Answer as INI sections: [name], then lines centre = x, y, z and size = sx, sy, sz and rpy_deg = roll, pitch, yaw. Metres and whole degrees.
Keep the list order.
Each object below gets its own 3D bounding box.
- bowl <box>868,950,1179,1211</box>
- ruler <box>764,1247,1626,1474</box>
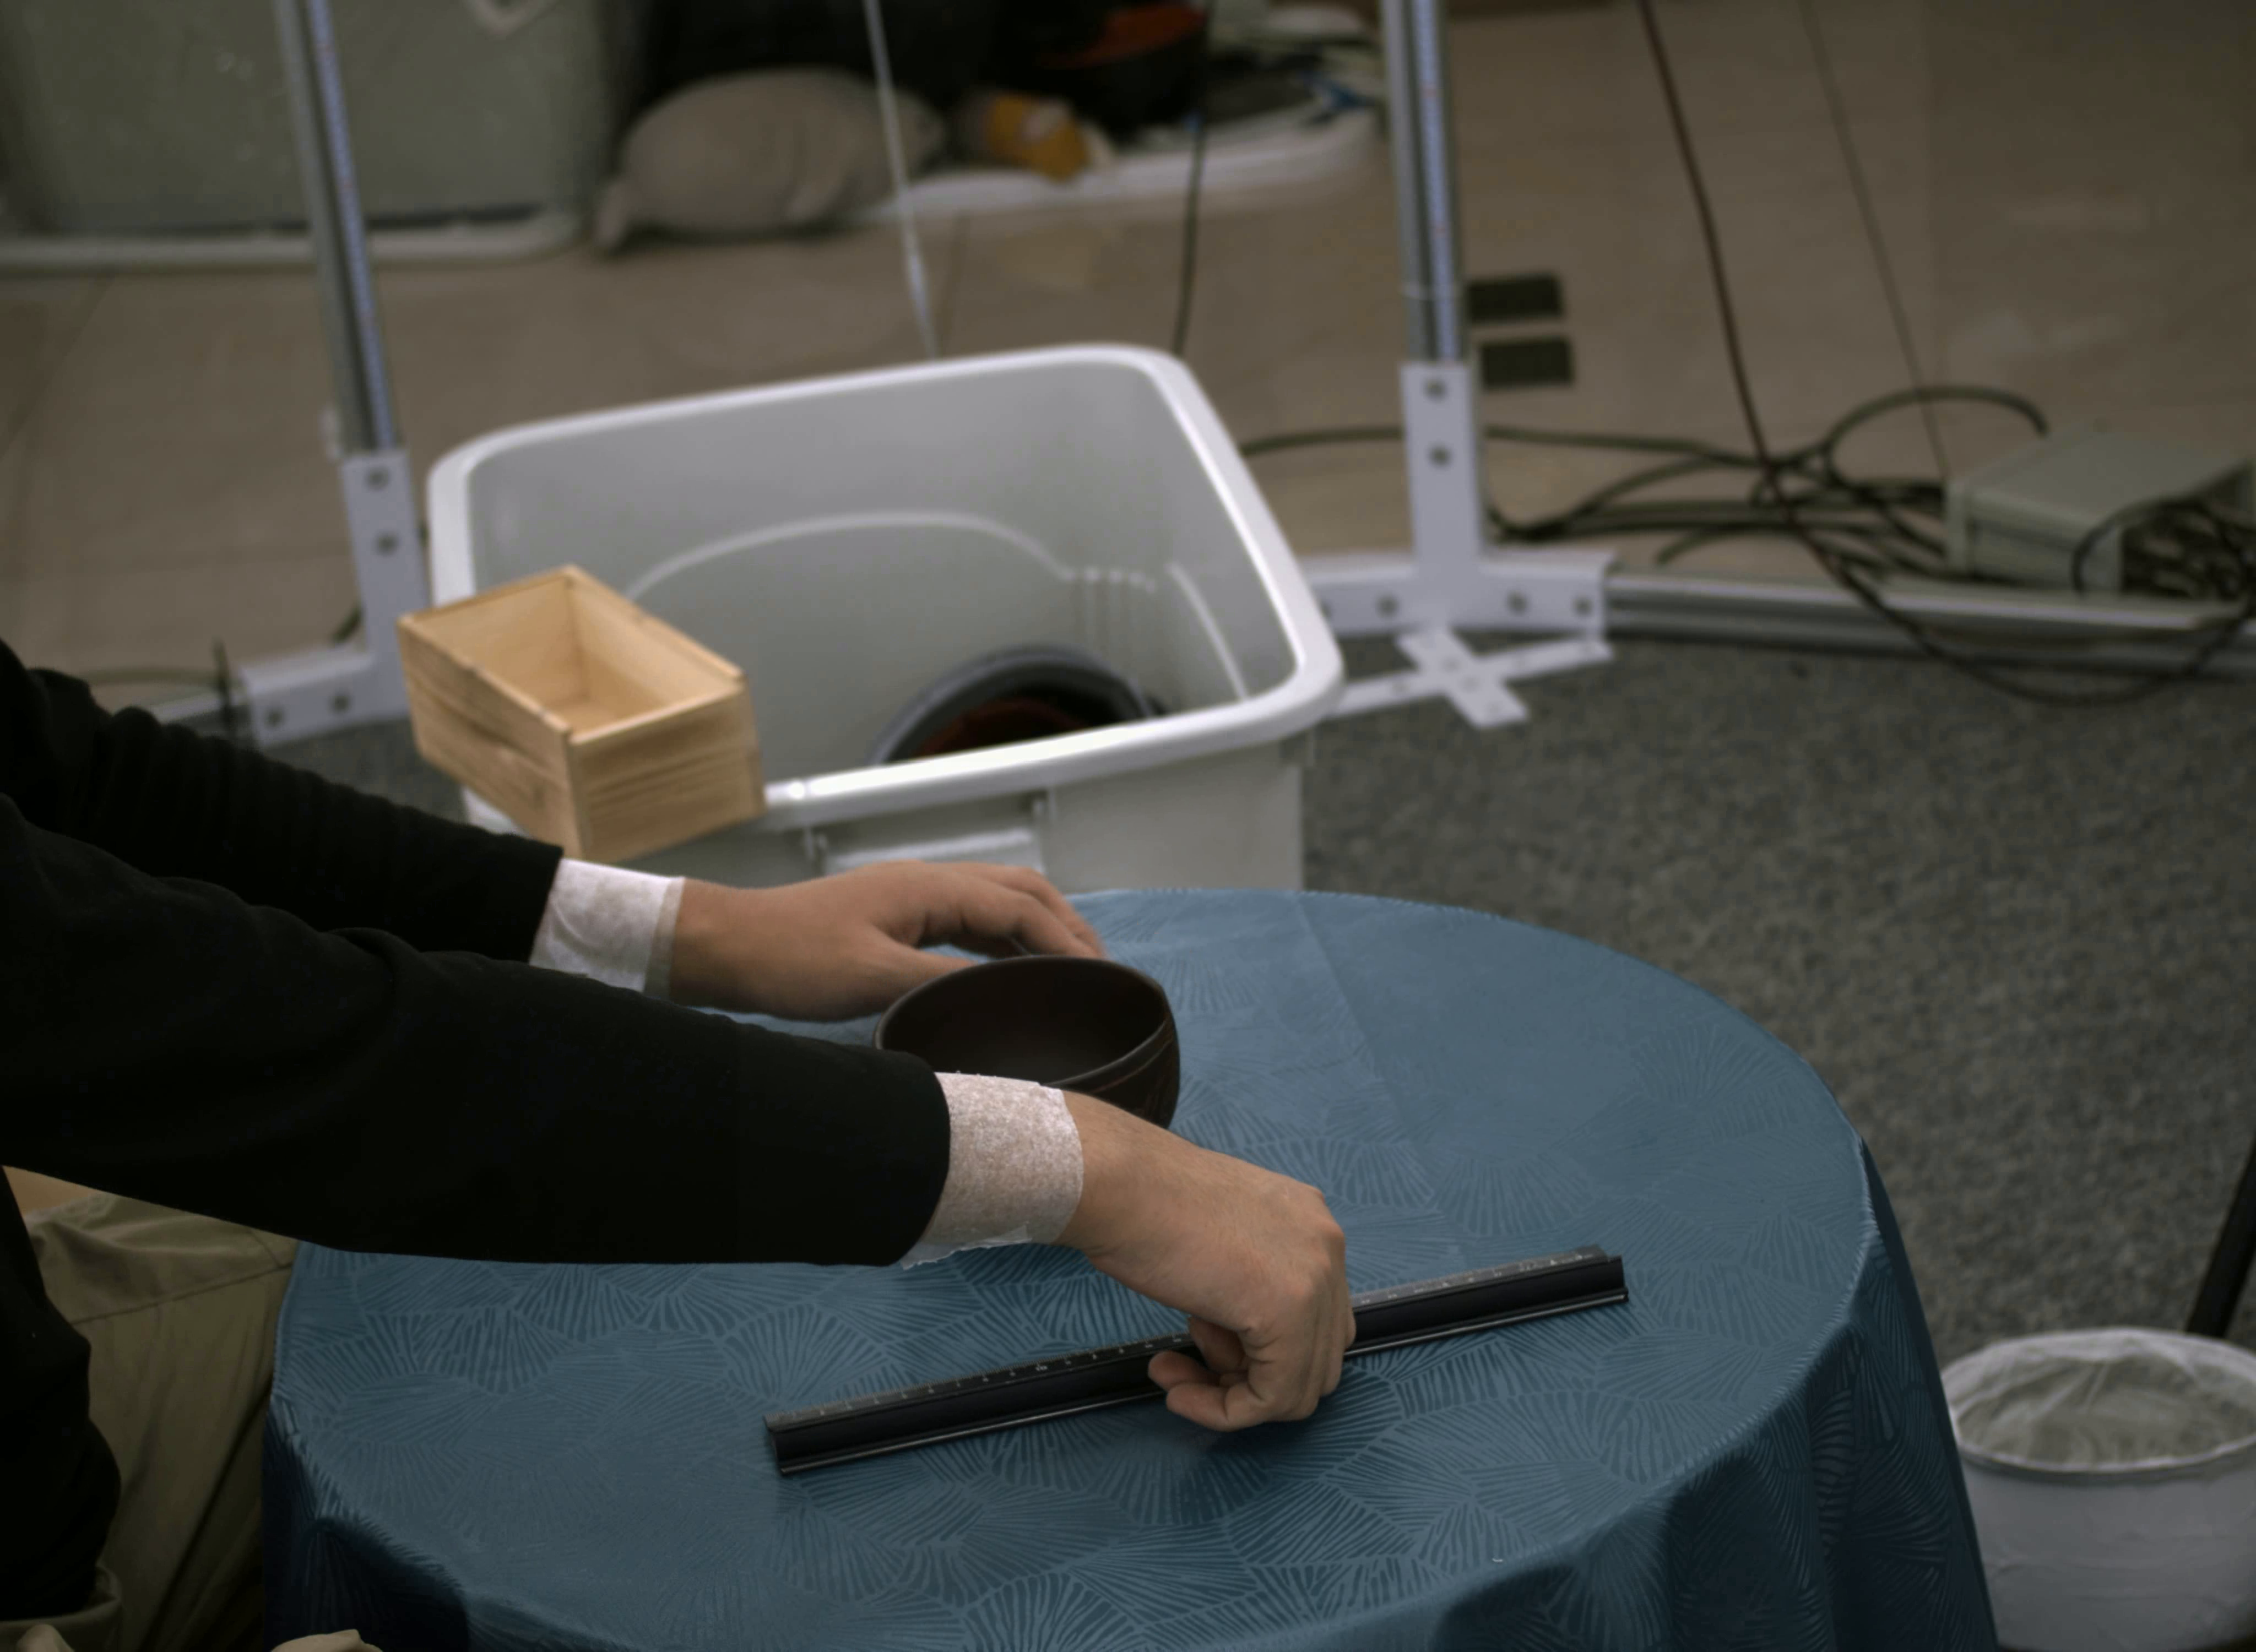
[bowl]
centre = -0.038, 0.102, 2.147
size = 0.118, 0.071, 0.116
rpy_deg = -5, 24, 2
[ruler]
centre = 0.024, 0.184, 2.025
size = 0.312, 0.017, 0.039
rpy_deg = -11, 25, -9
